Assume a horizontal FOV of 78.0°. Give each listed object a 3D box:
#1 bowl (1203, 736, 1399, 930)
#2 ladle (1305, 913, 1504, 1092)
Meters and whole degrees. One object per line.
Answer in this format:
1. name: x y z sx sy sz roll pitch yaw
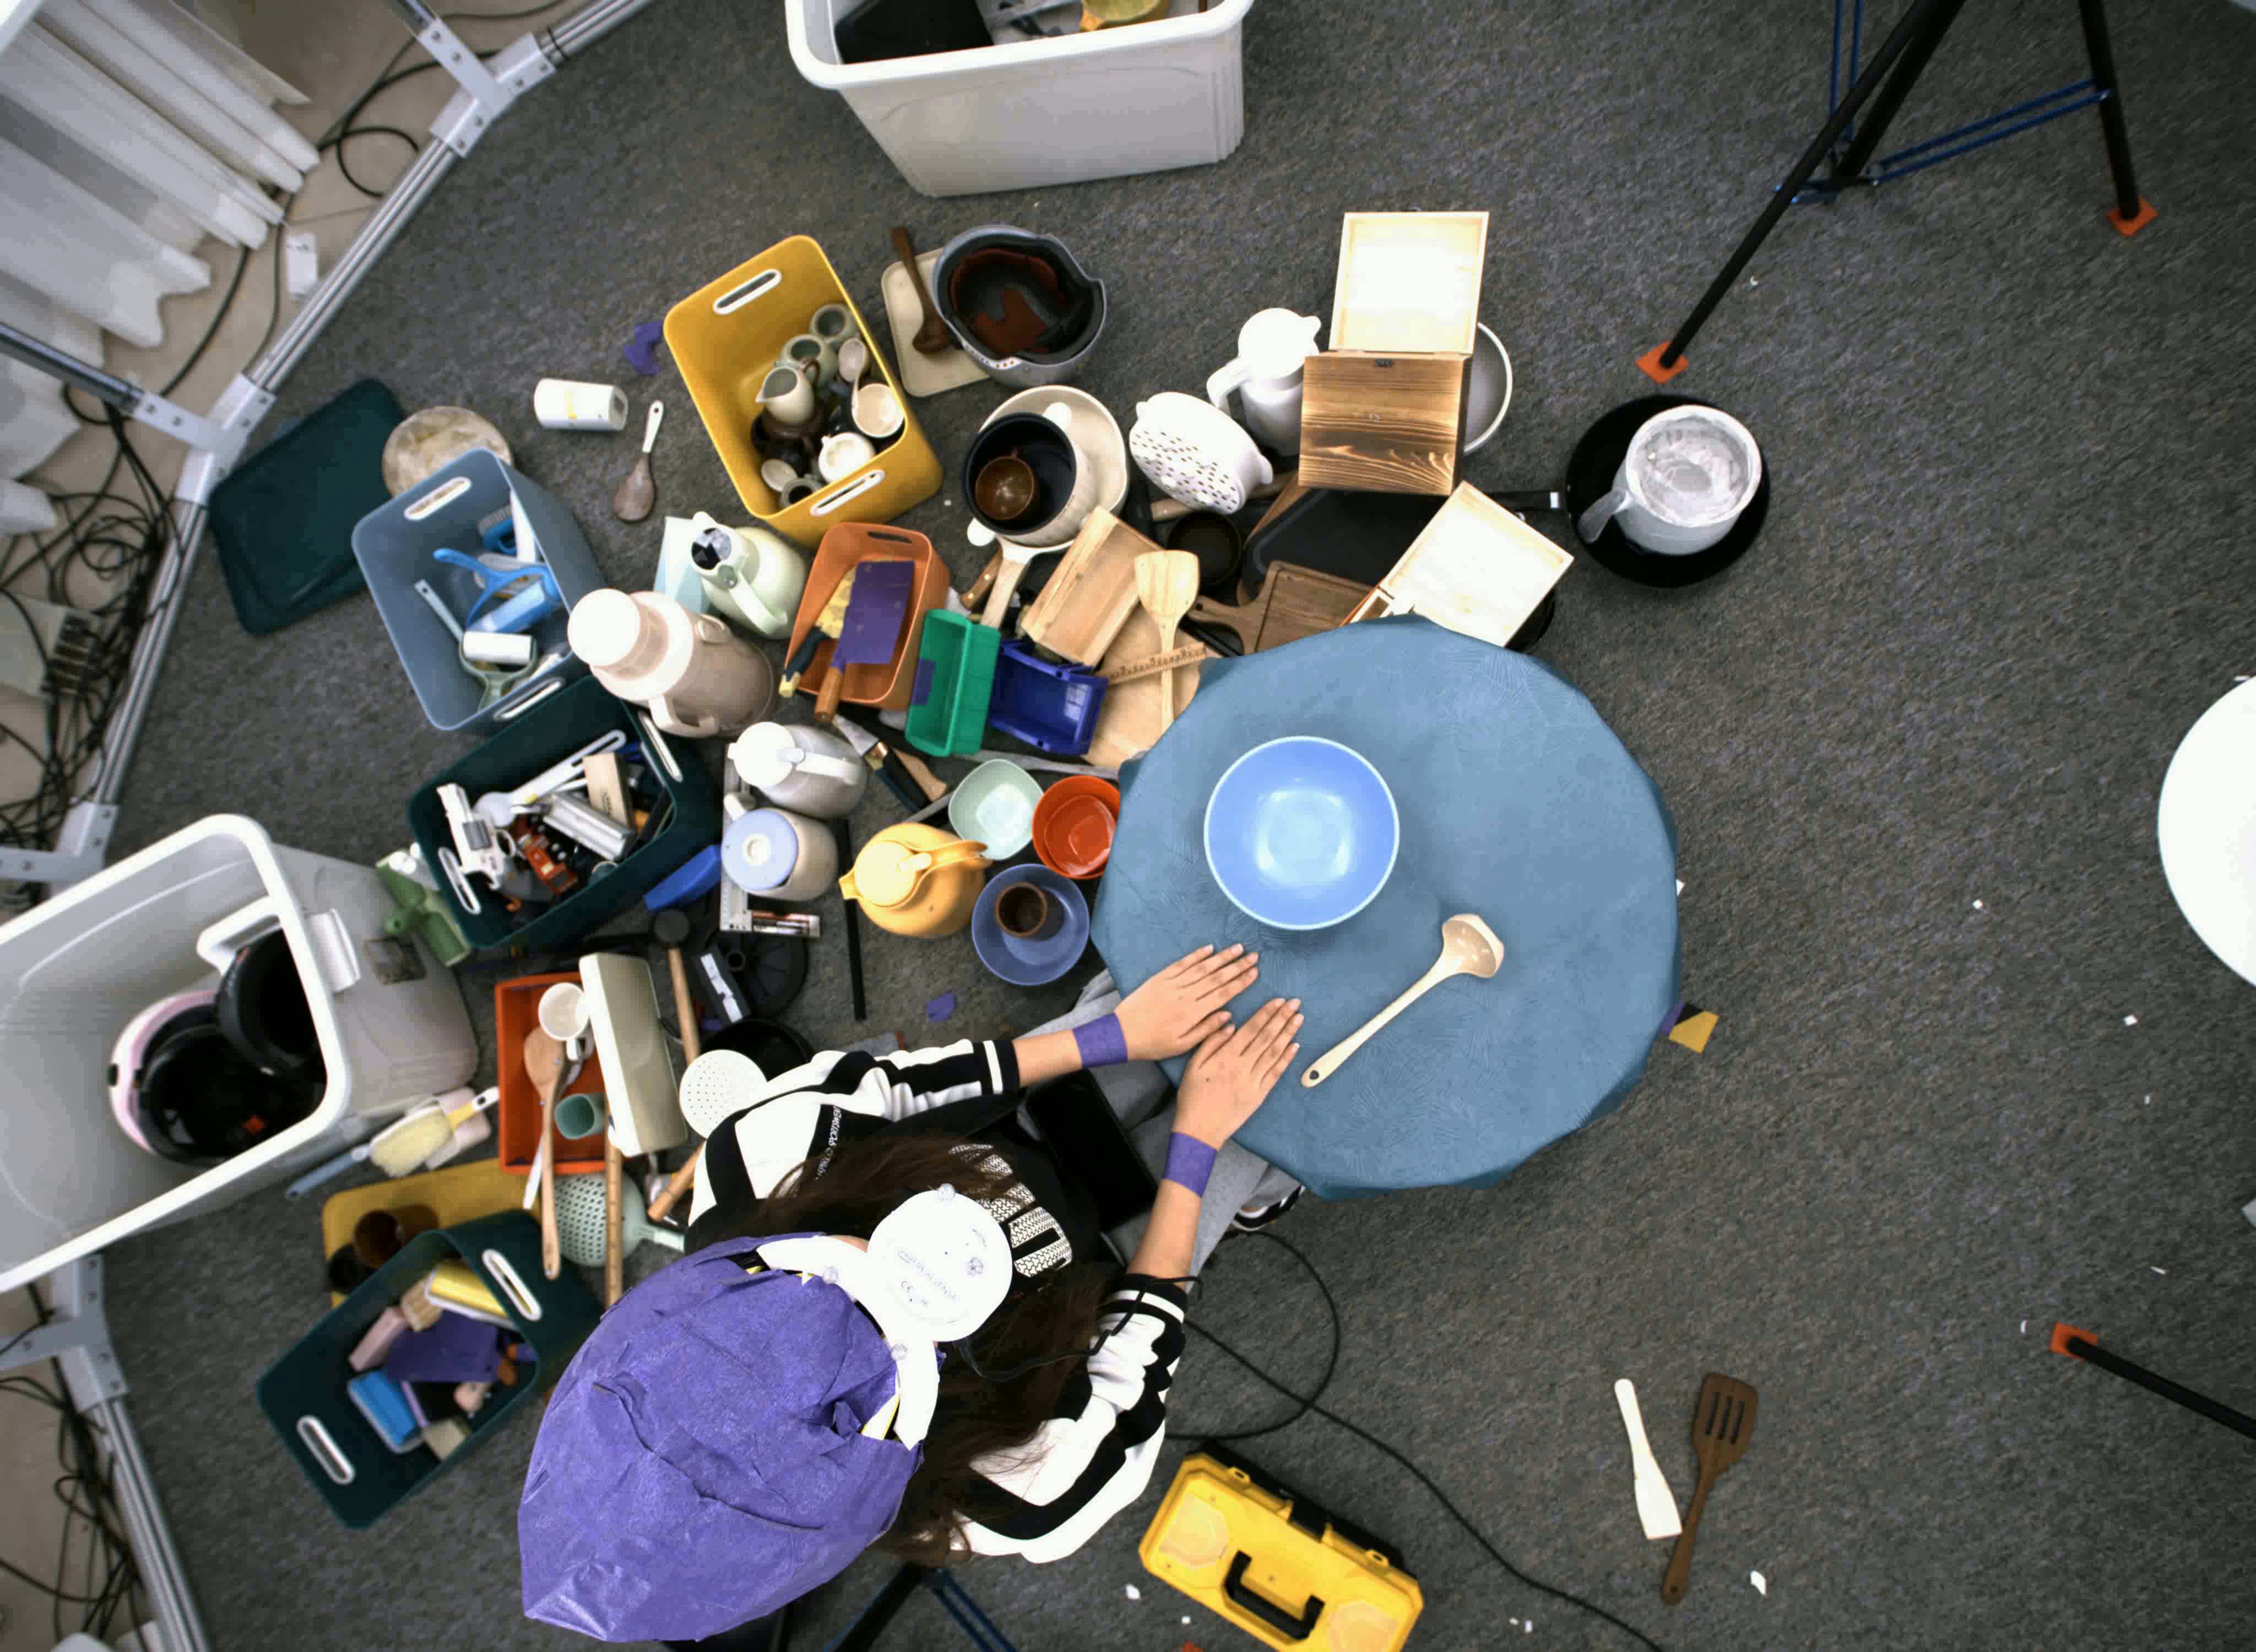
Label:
1. bowl: 0.180 0.010 1.434 0.197 0.095 0.195 -1 86 9
2. ladle: 0.276 0.187 1.416 0.255 0.073 0.072 -42 79 6
